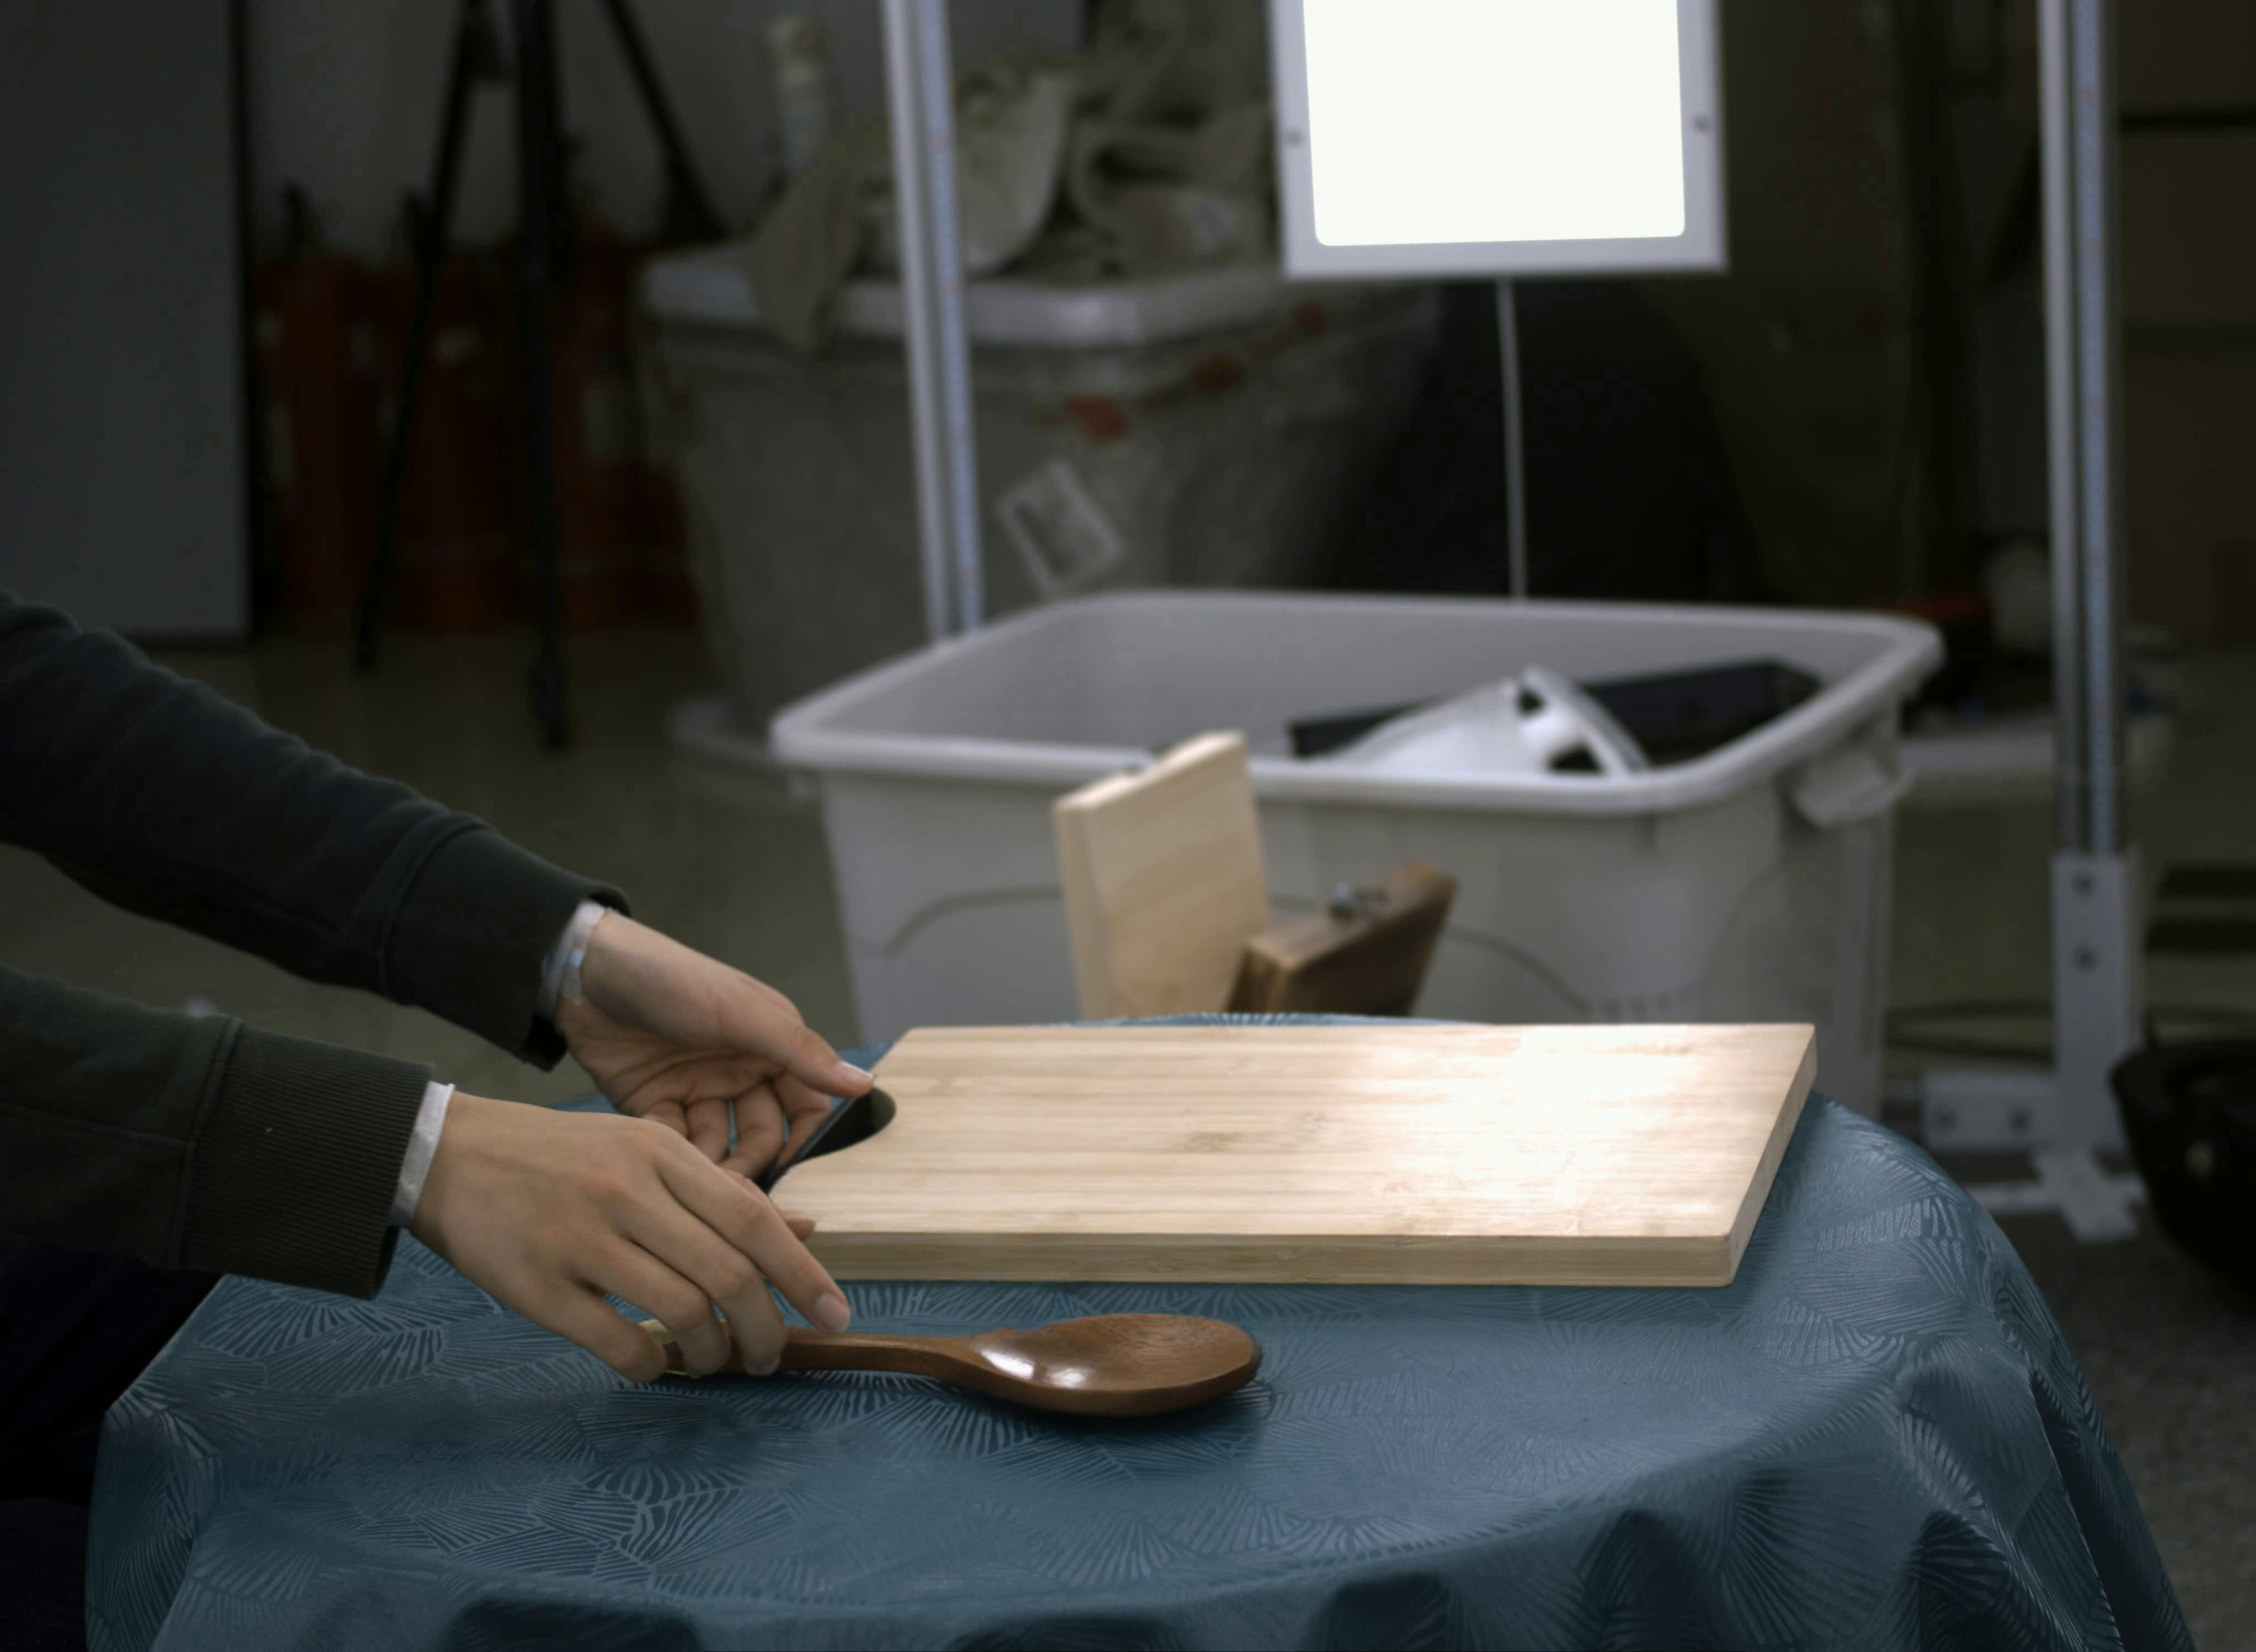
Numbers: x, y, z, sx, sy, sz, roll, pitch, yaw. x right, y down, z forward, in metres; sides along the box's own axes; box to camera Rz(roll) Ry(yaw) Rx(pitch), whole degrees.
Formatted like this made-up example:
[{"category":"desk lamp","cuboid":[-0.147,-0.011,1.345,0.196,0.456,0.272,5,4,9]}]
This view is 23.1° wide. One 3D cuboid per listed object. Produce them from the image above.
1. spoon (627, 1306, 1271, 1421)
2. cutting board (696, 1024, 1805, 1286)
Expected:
[{"category":"spoon","cuboid":[-0.058,0.165,1.721,0.219,0.017,0.074,2,17,24]},{"category":"cutting board","cuboid":[0.050,0.112,1.906,0.352,0.023,0.247,-1,14,15]}]
